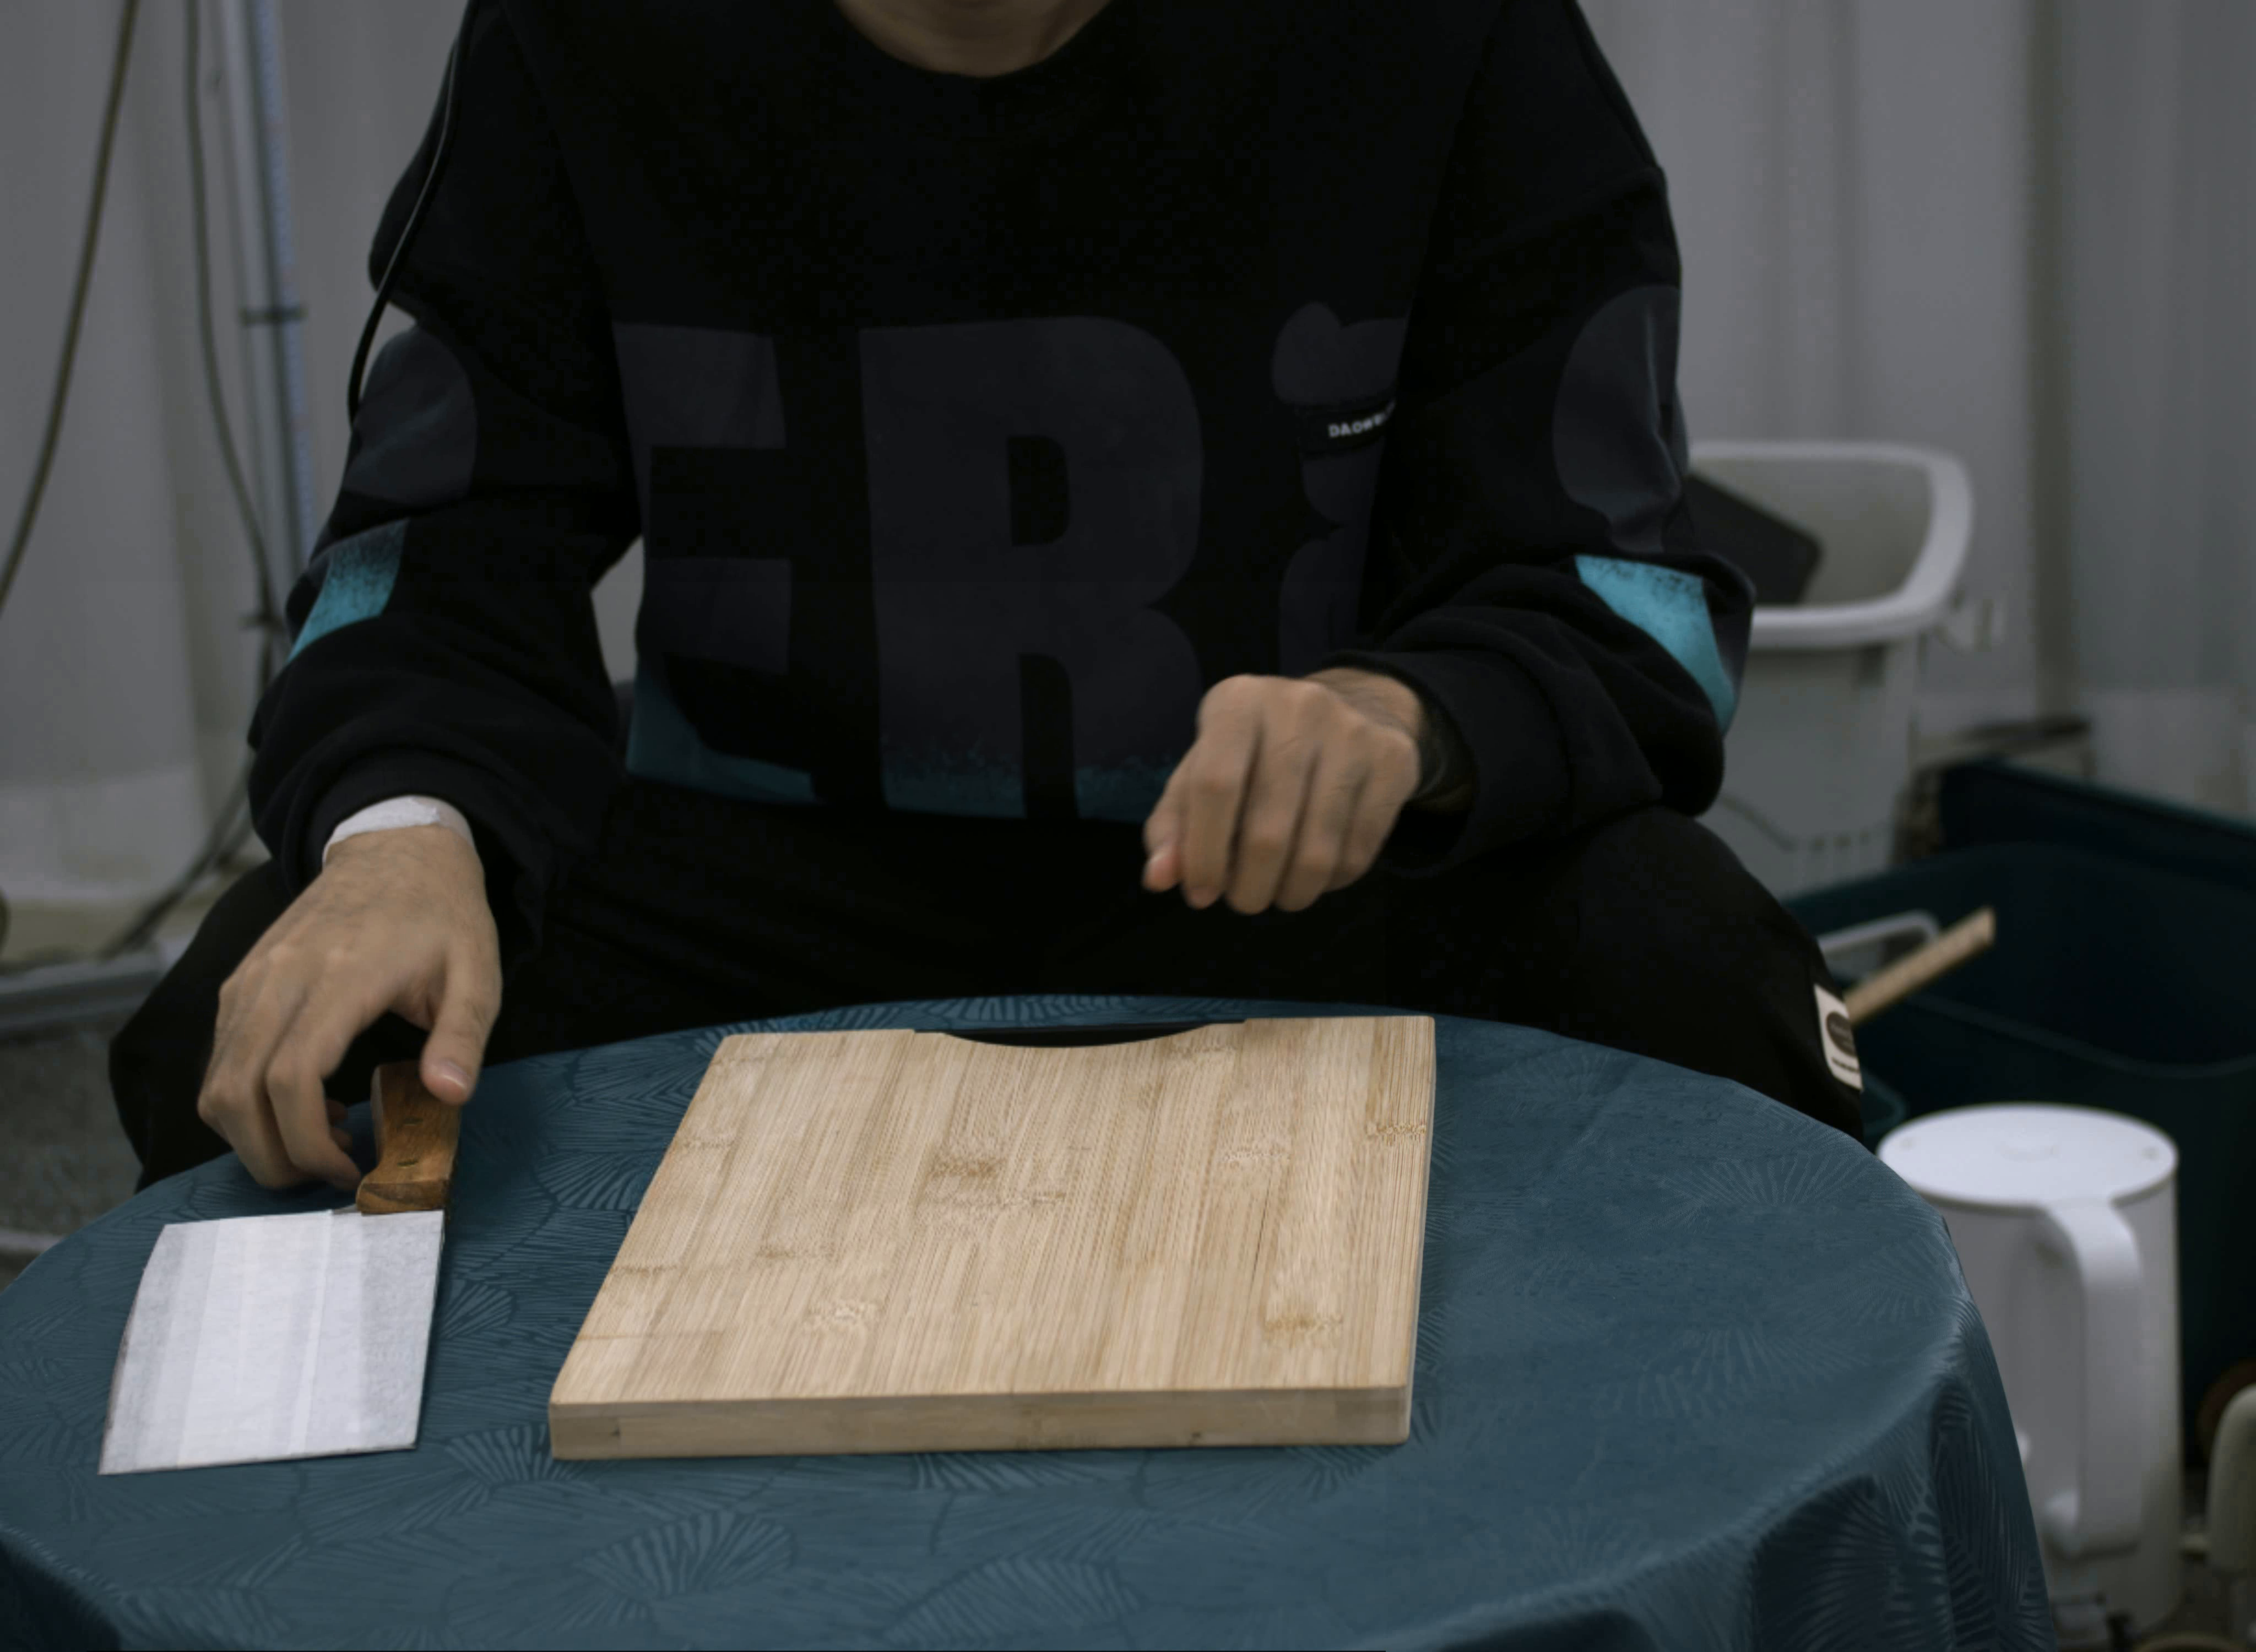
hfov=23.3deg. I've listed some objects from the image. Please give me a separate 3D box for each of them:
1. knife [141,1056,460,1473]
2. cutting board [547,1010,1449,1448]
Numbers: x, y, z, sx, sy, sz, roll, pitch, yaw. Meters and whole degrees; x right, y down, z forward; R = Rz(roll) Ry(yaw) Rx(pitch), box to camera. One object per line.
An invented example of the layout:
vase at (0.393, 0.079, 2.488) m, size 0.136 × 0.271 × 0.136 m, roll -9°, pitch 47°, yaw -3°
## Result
knife at (-0.252, 0.132, 1.671) m, size 0.092 × 0.021 × 0.308 m, roll -5°, pitch 17°, yaw -3°
cutting board at (-0.027, 0.119, 1.672) m, size 0.250 × 0.023 × 0.351 m, roll -2°, pitch 15°, yaw 4°
